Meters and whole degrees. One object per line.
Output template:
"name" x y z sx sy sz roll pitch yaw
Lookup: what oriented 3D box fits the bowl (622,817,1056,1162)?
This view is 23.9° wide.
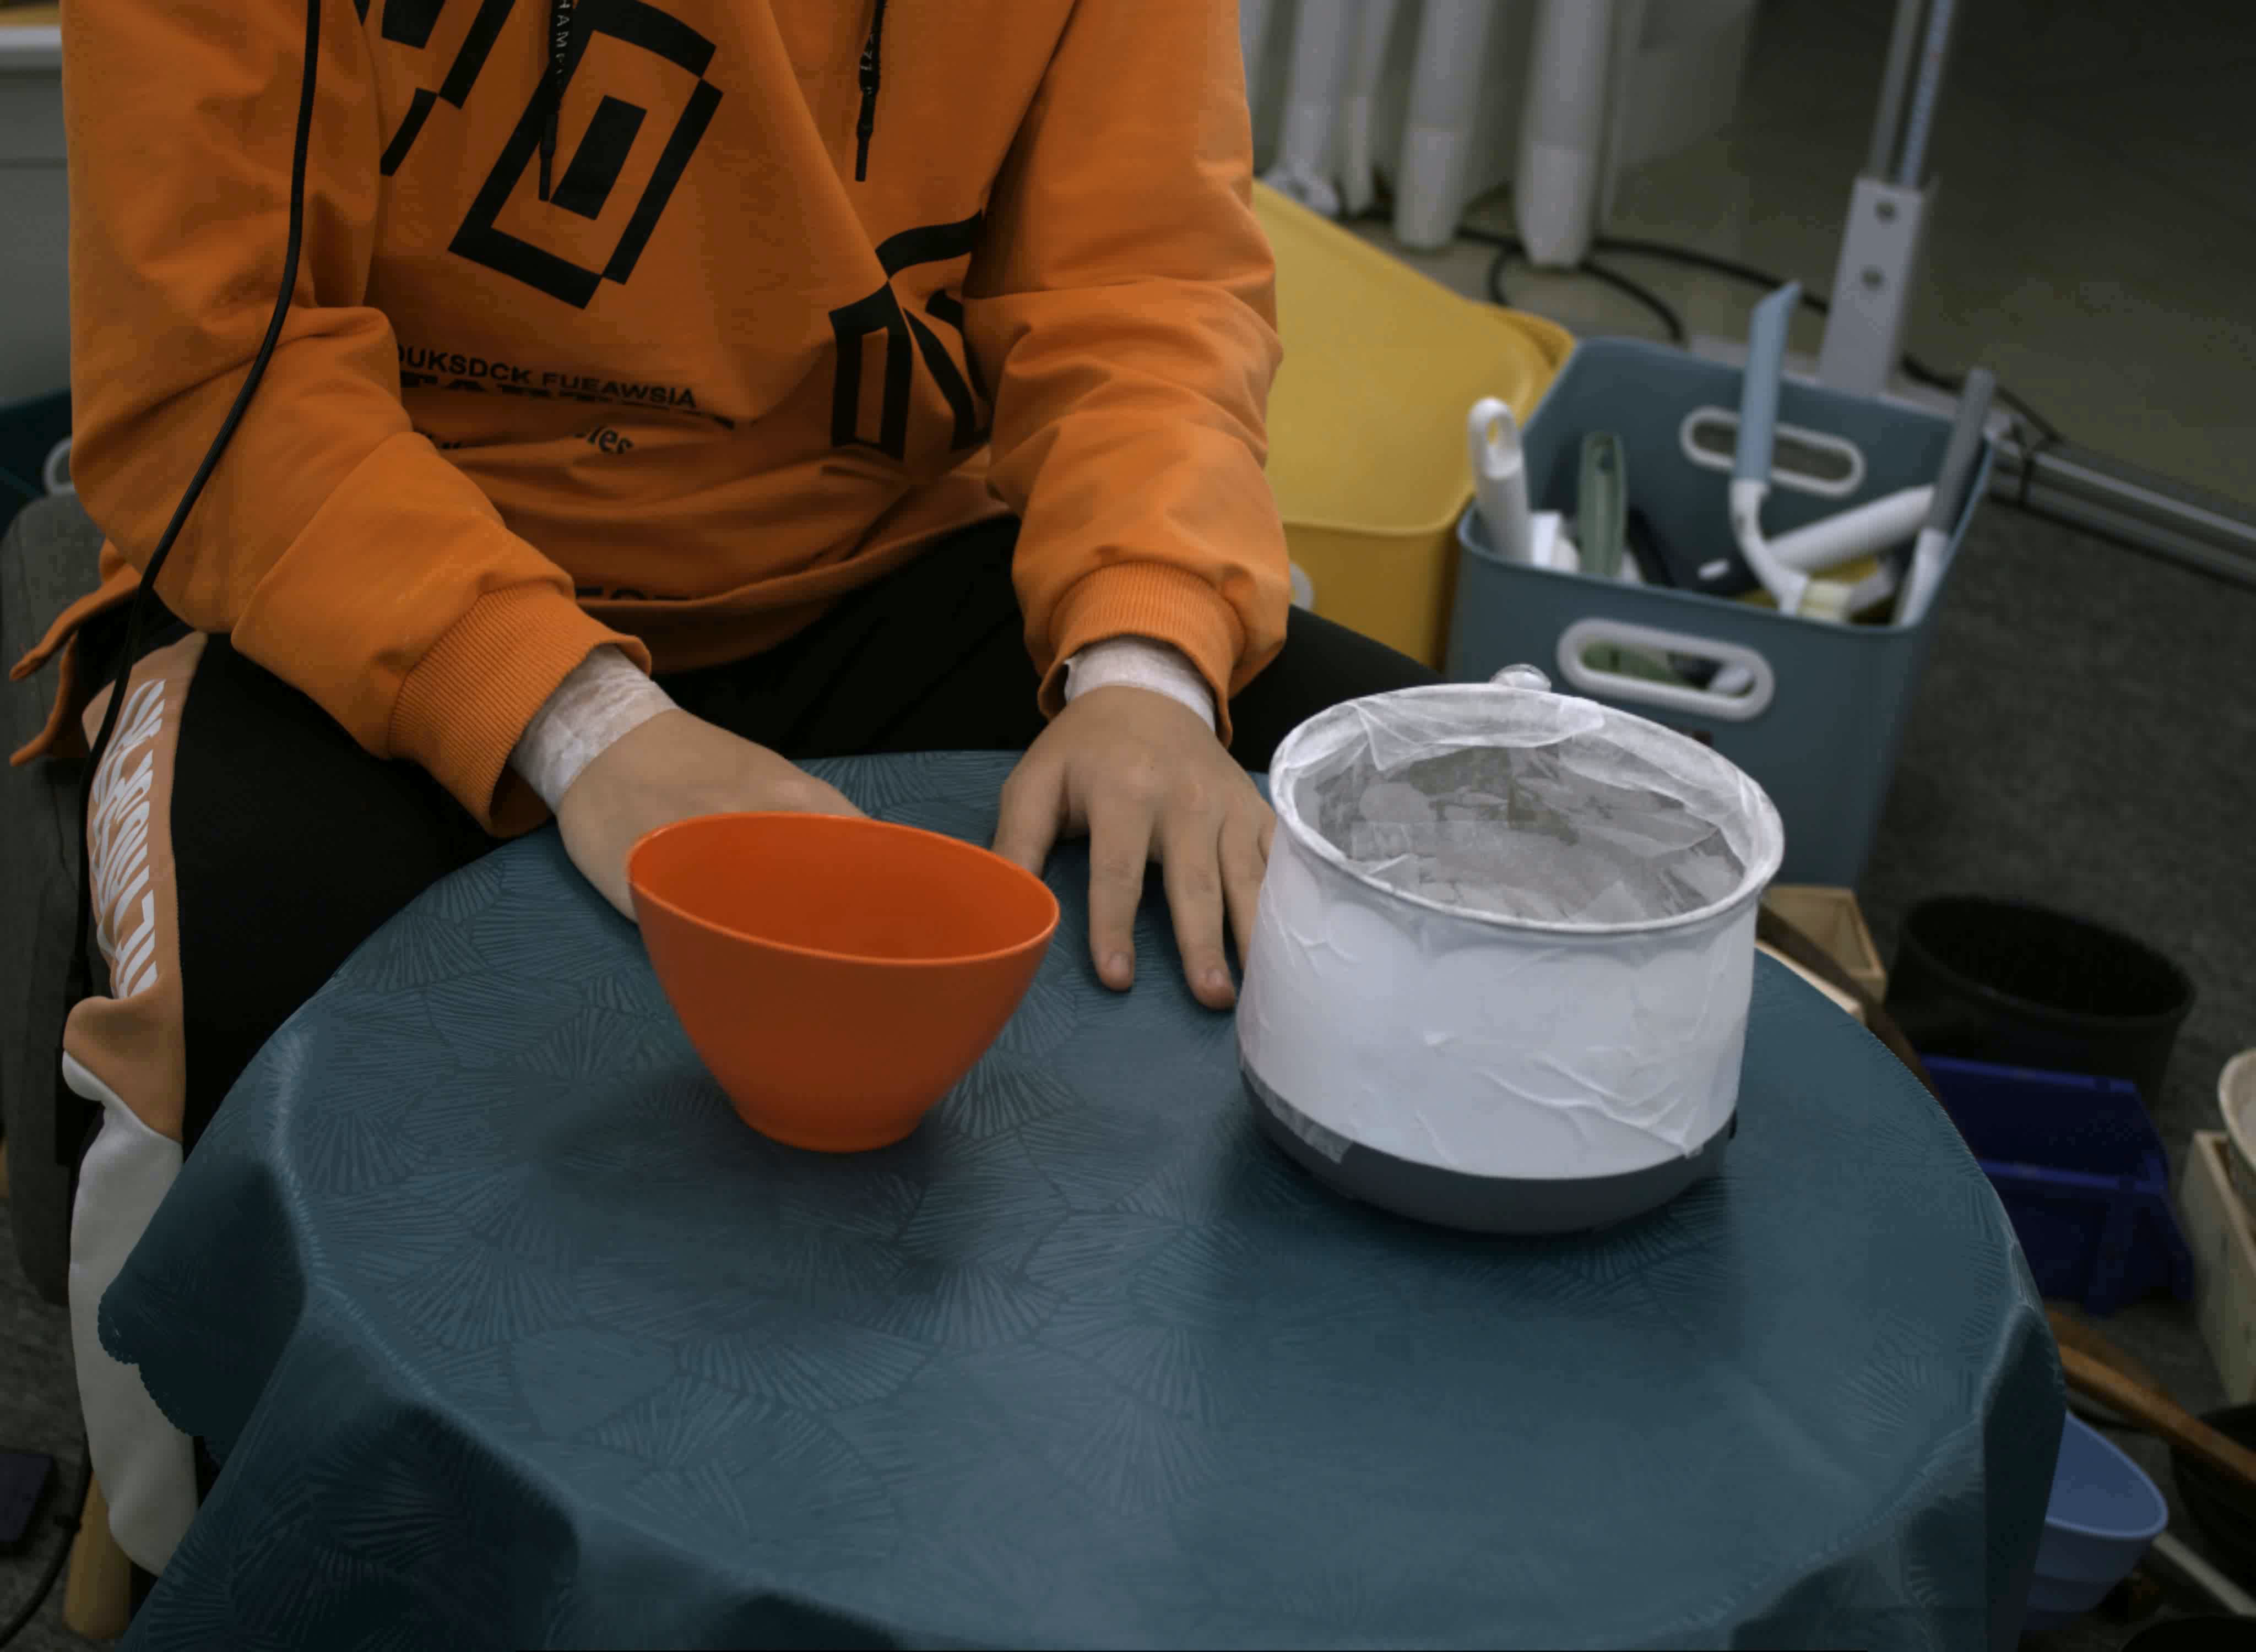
"bowl" -0.101 0.058 1.803 0.147 0.104 0.149 6 26 -3

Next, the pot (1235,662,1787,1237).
"pot" 0.129 0.035 1.854 0.178 0.136 0.235 7 27 -1
